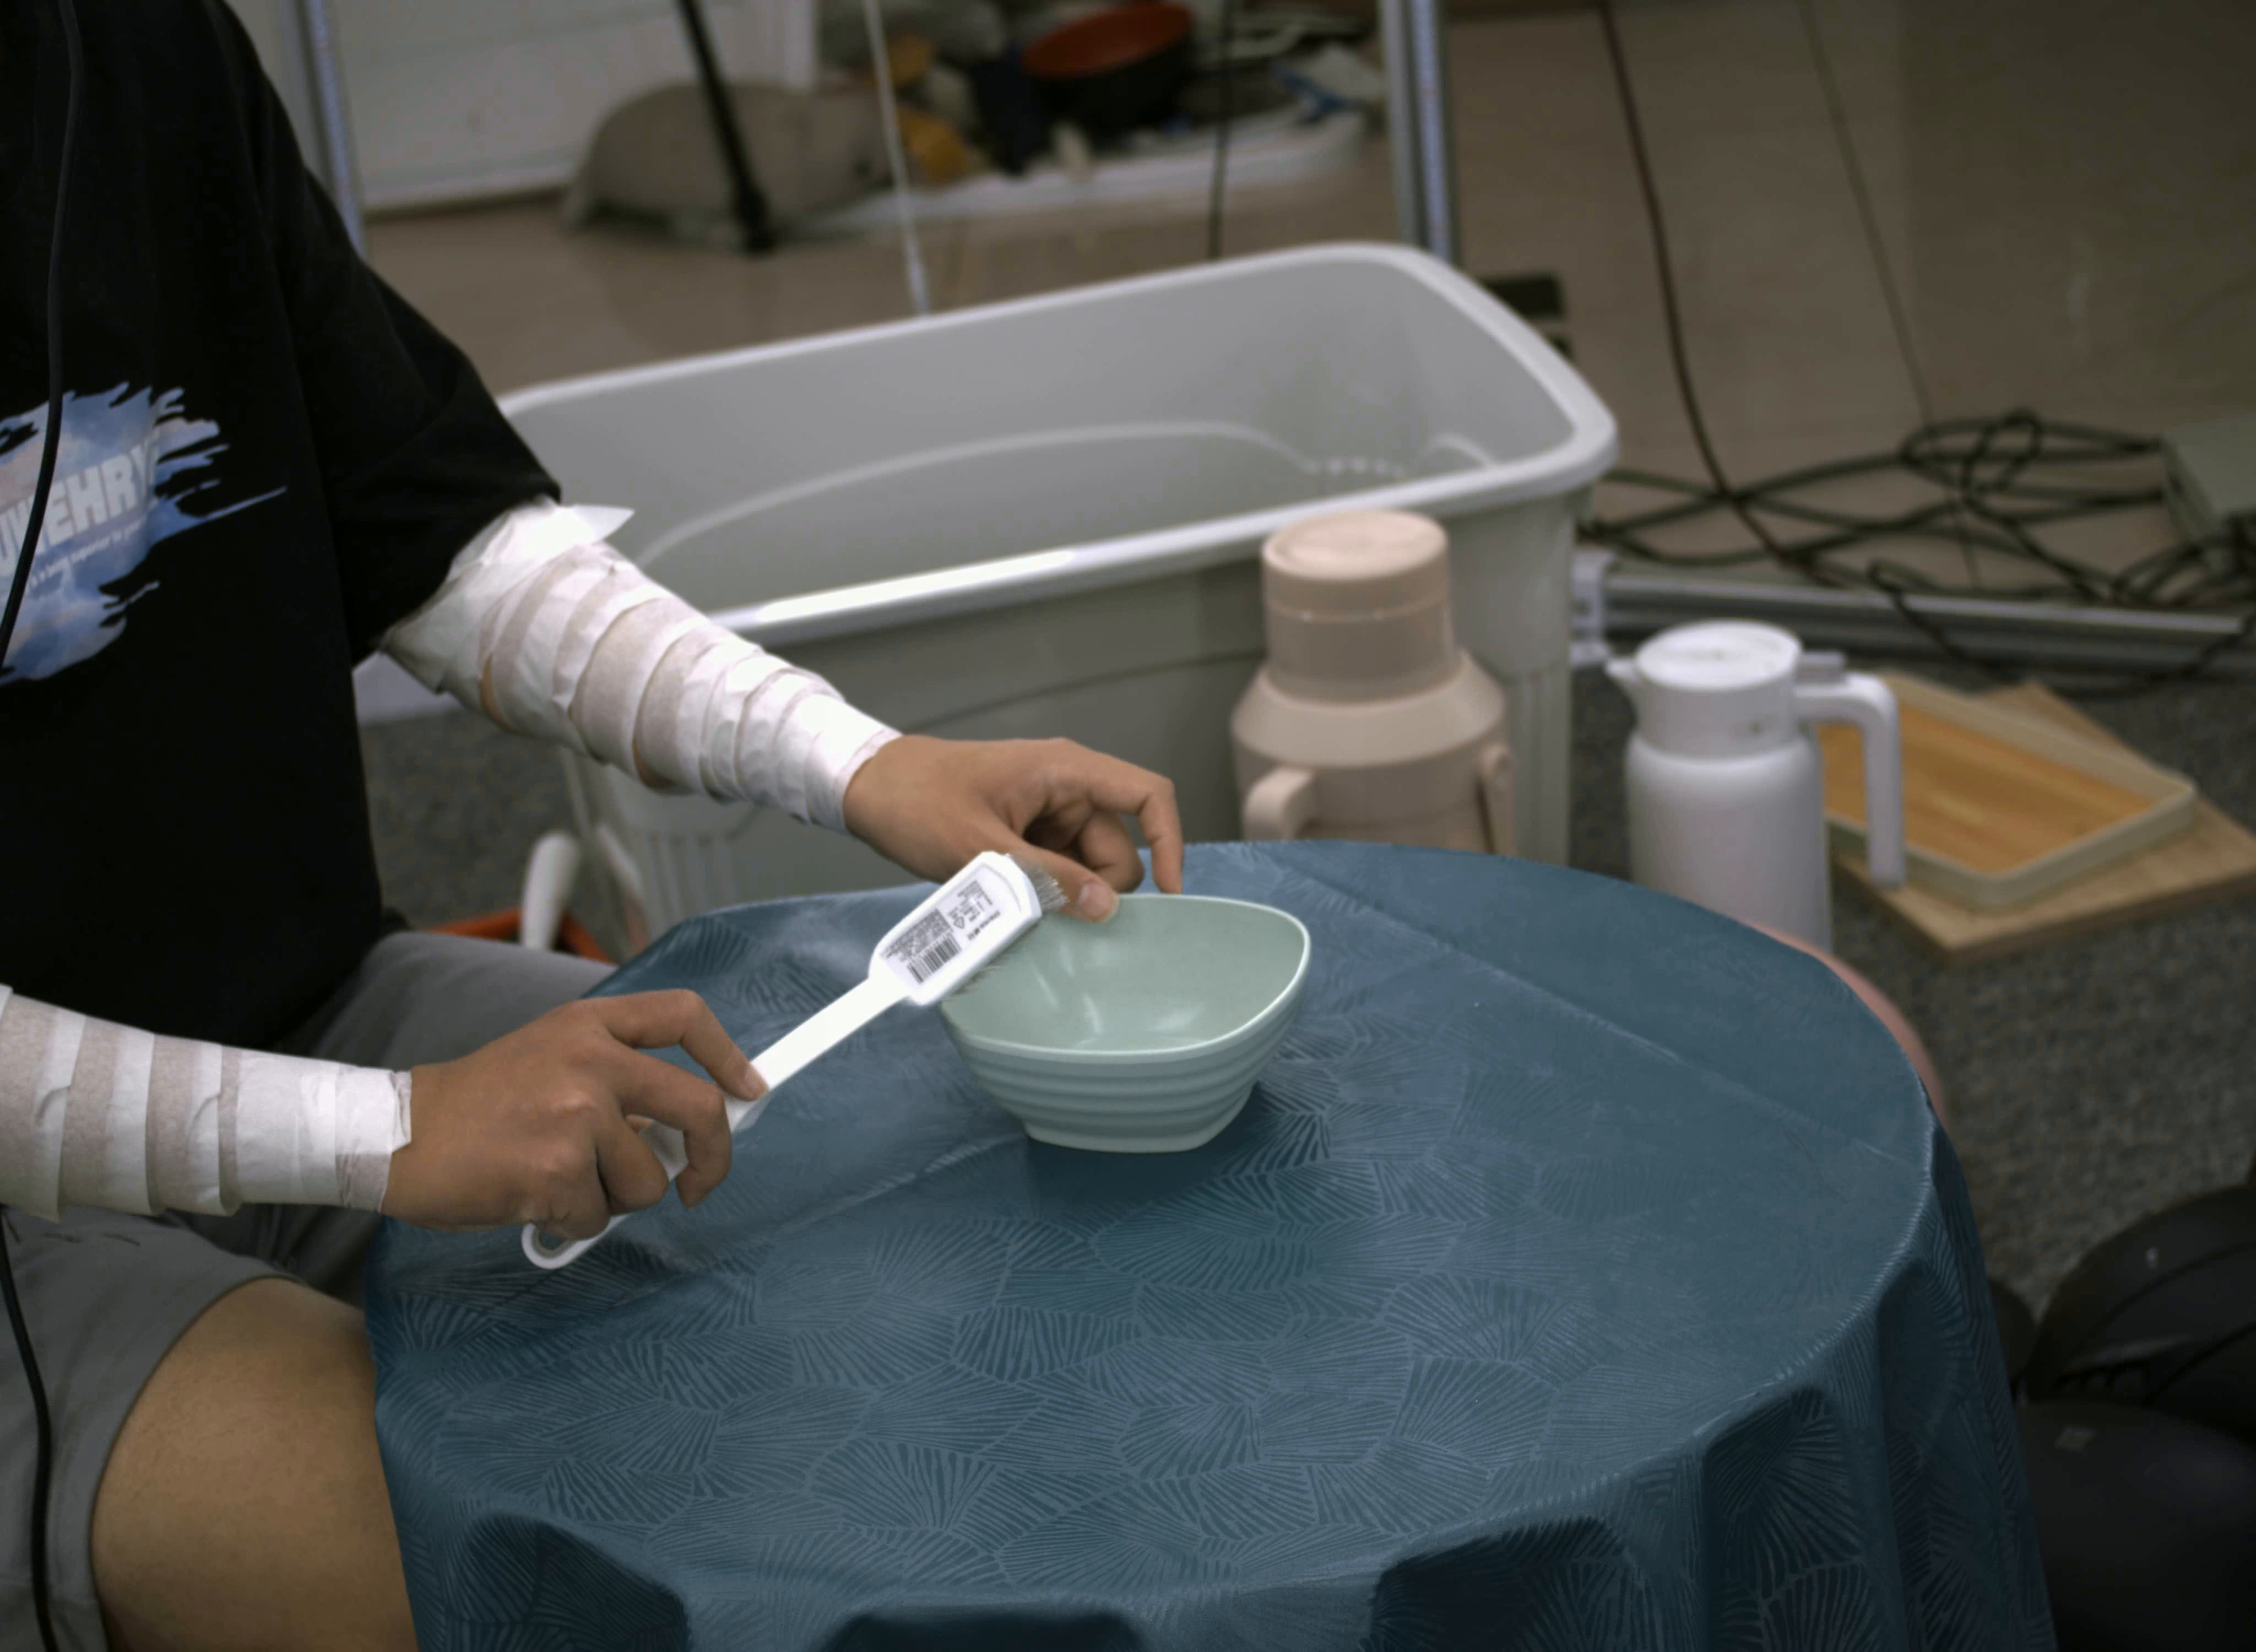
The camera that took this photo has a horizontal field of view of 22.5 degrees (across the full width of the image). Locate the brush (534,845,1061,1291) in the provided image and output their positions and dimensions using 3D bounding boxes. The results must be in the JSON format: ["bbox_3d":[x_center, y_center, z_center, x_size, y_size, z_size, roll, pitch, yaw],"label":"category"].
[{"bbox_3d":[-0.126,0.093,2.147,0.243,0.034,0.050,-41,-6,0],"label":"brush"}]

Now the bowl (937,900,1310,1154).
[{"bbox_3d":[0.001,0.083,2.201,0.151,0.059,0.149,-5,23,2],"label":"bowl"}]
